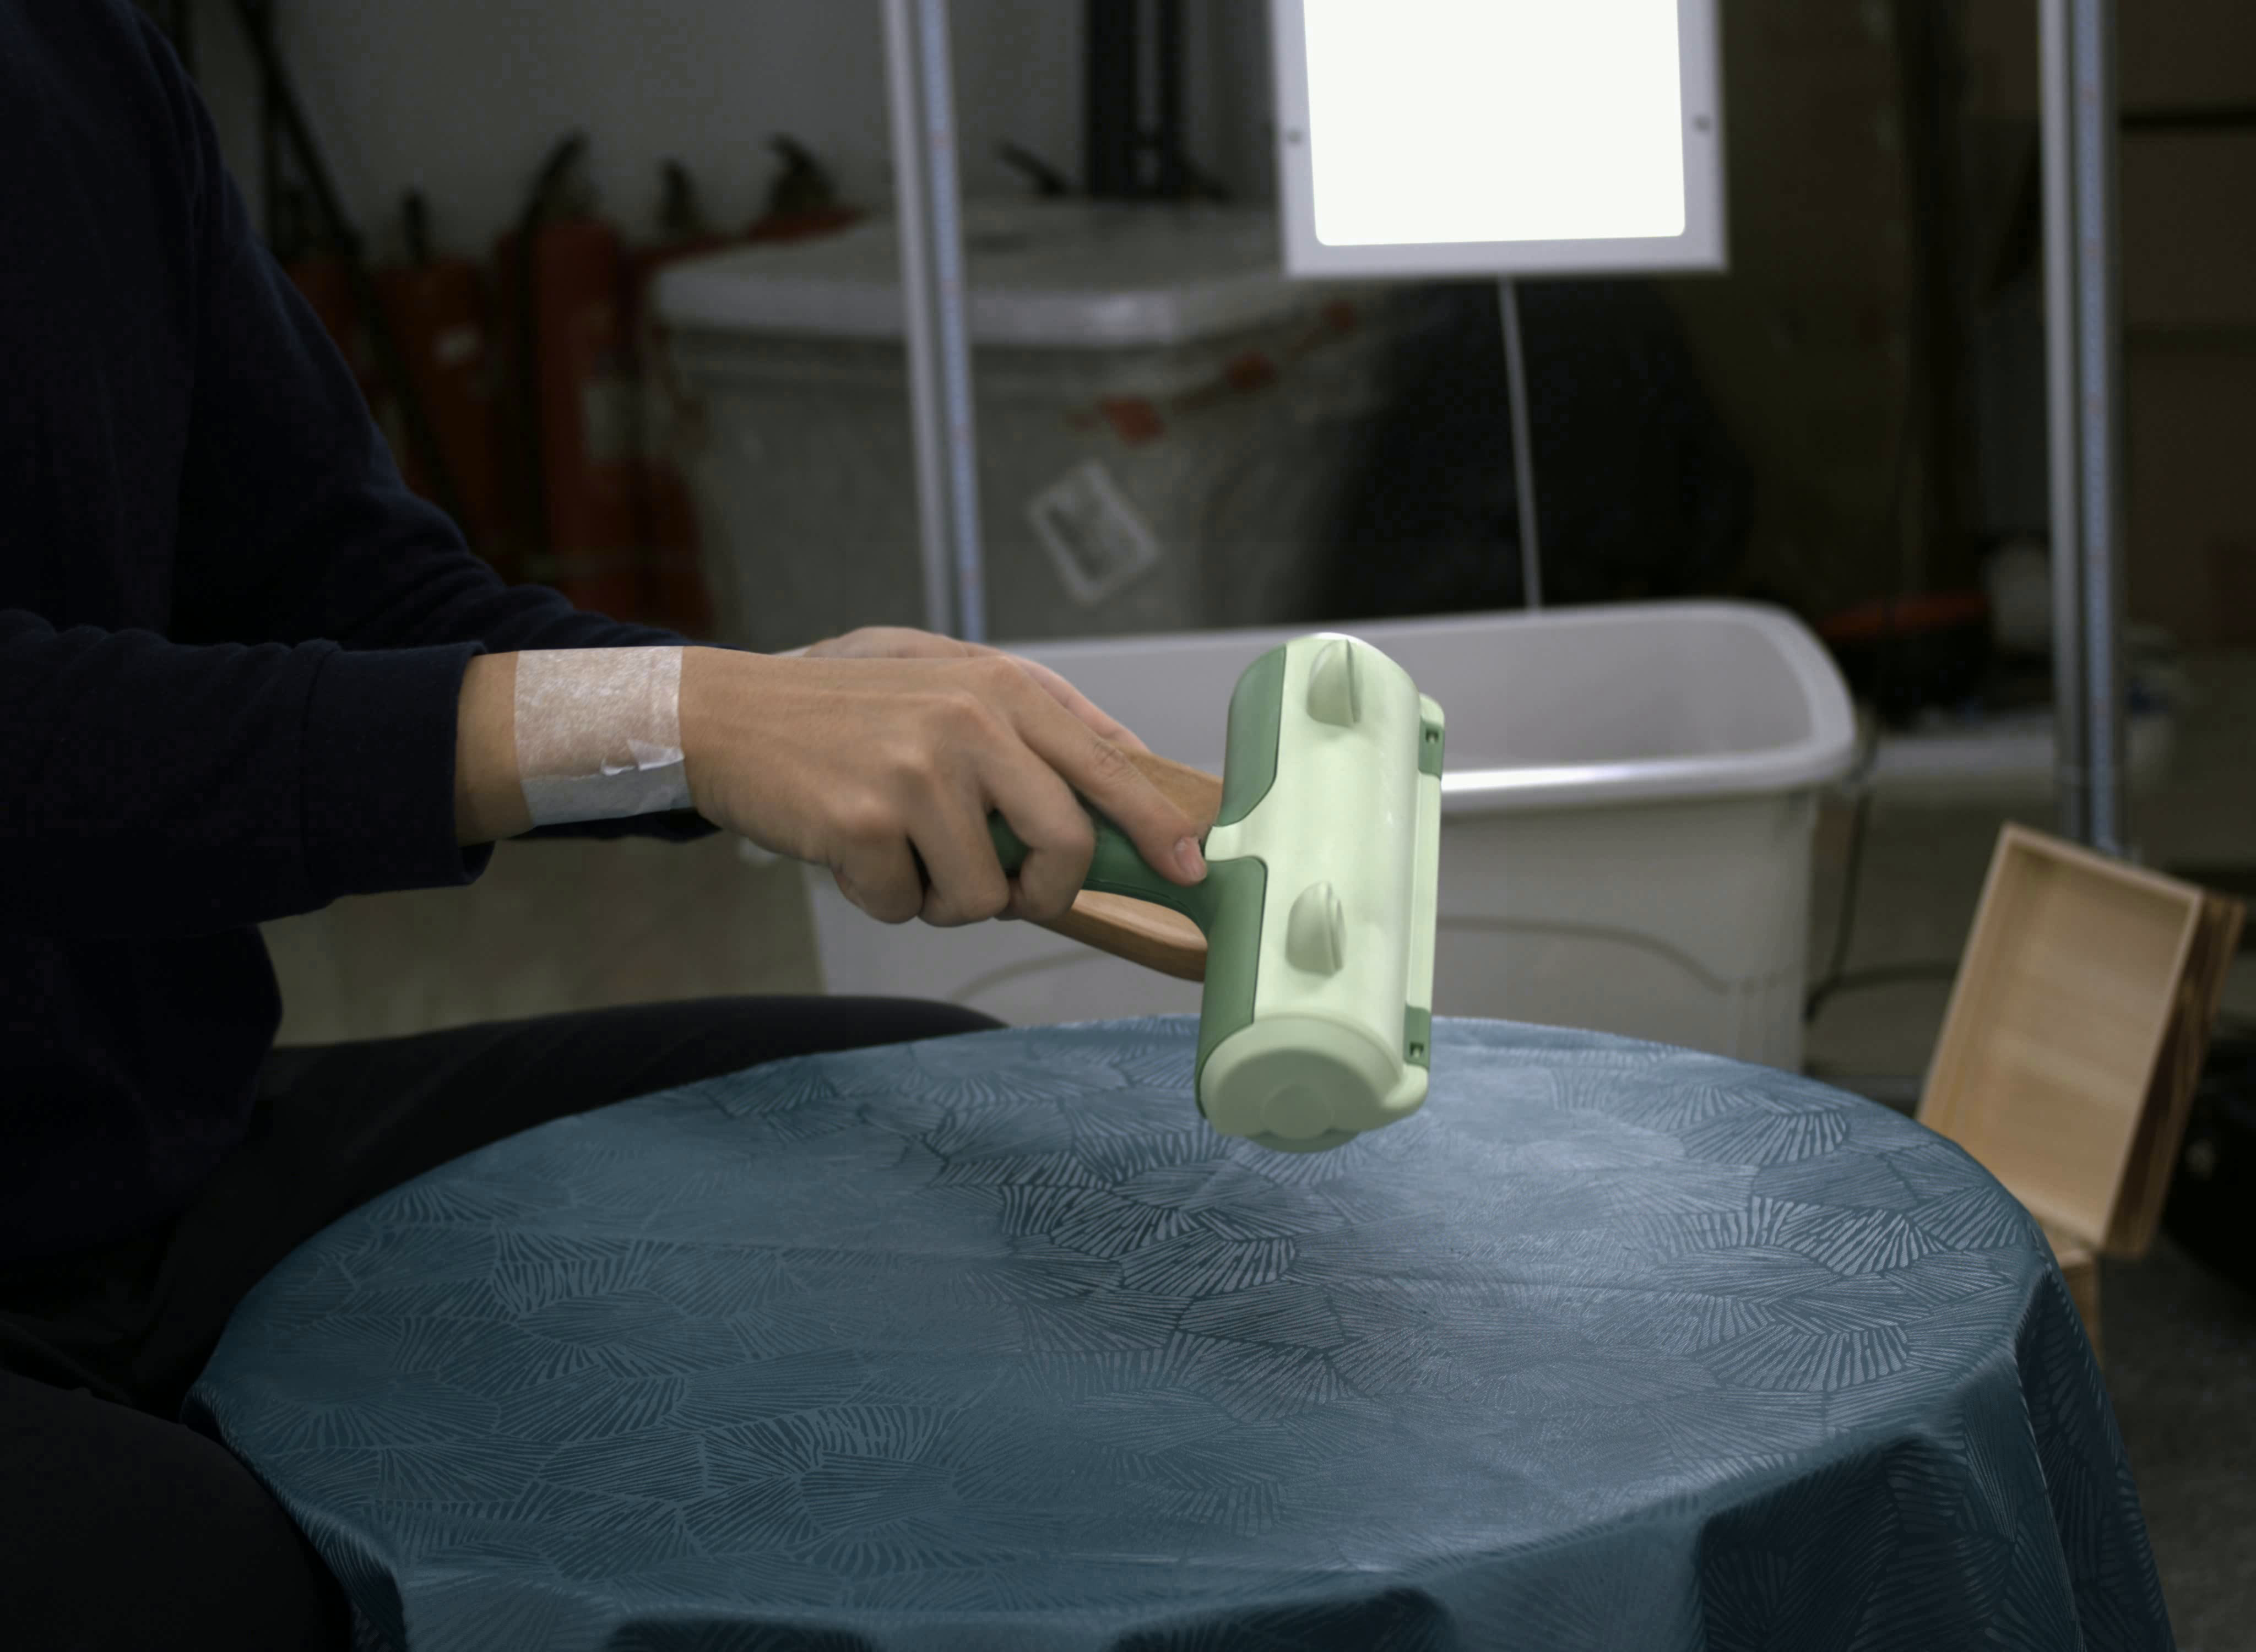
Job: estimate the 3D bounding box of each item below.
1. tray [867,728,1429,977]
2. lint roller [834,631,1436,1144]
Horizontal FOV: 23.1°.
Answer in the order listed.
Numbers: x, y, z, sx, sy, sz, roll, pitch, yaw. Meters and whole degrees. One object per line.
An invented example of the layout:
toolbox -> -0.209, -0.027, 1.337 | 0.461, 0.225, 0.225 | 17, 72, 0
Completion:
tray -> 0.005, 0.008, 1.810 | 0.099, 0.020, 0.236 | -26, 30, -32
lint roller -> 0.008, -0.009, 1.654 | 0.181, 0.083, 0.197 | 21, 37, -11
